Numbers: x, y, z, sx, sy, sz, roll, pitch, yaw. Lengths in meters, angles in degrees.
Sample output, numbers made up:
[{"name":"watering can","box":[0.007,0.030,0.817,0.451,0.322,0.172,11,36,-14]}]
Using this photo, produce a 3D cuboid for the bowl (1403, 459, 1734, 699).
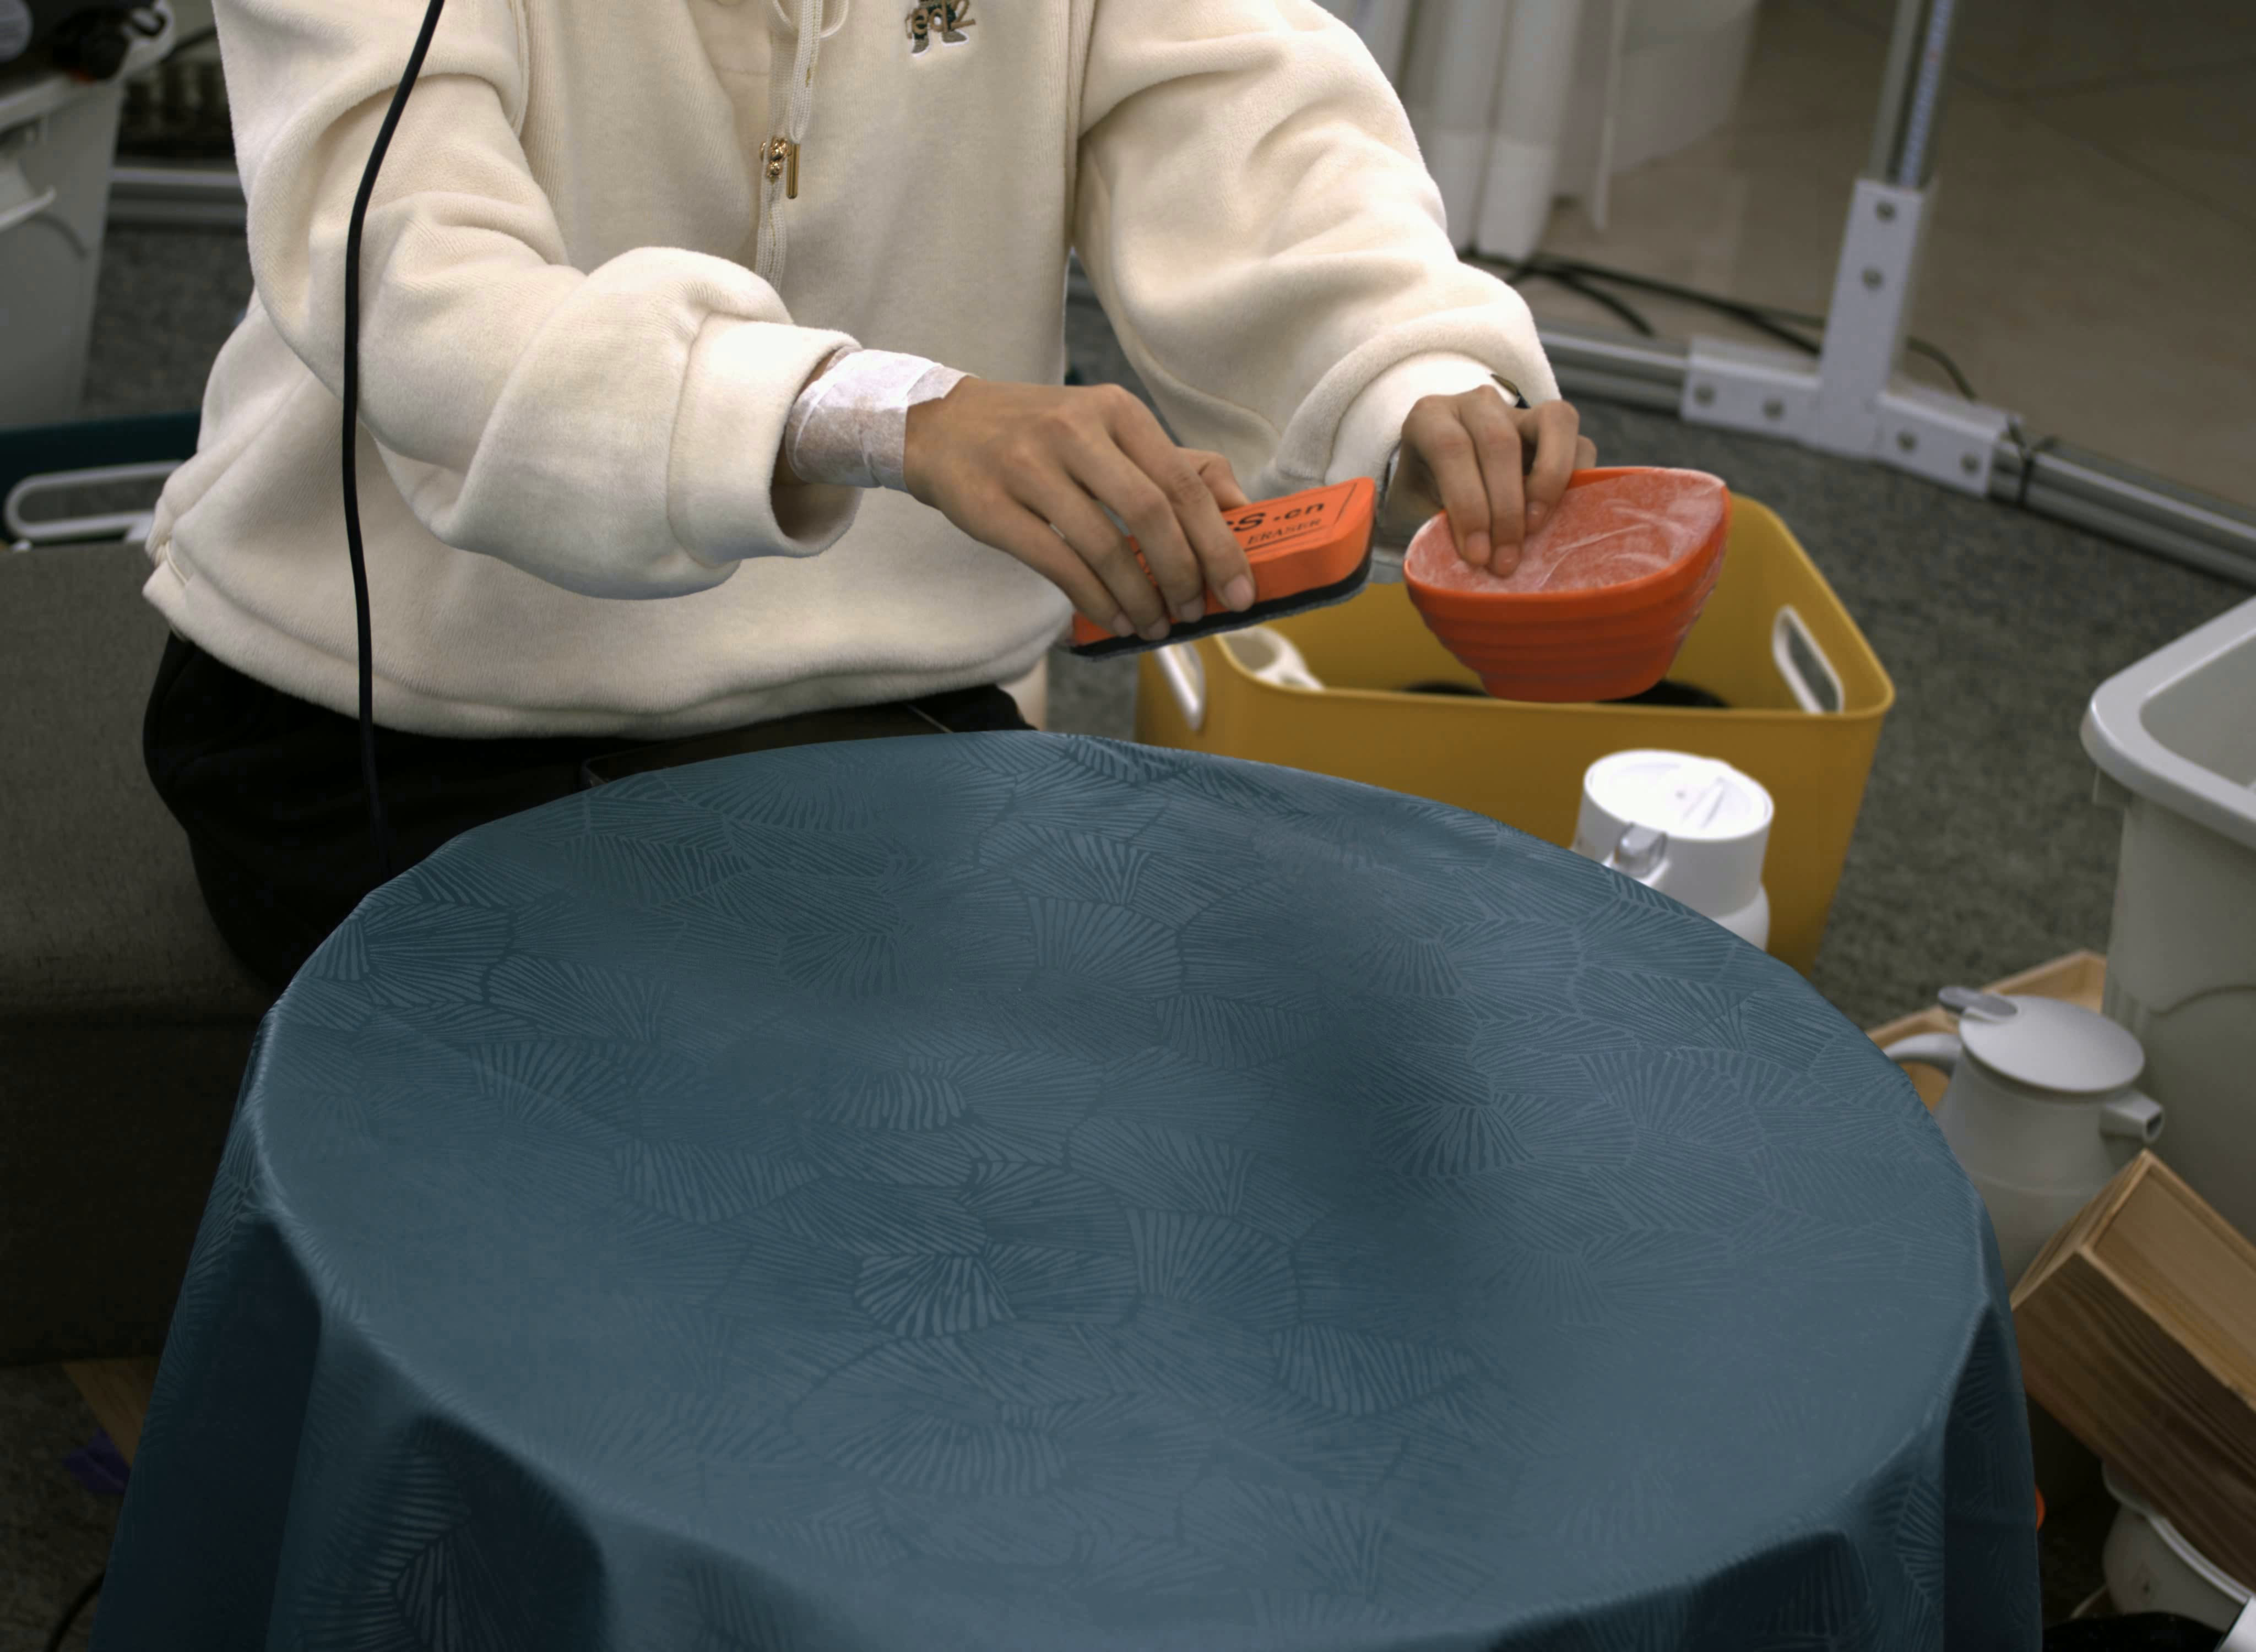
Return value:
[{"name":"bowl","box":[0.154,-0.080,1.816,0.119,0.051,0.119,-11,24,4]}]

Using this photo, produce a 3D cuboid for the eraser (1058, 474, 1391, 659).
[{"name":"eraser","box":[0.033,-0.088,1.811,0.108,0.023,0.059,-13,25,25]}]
